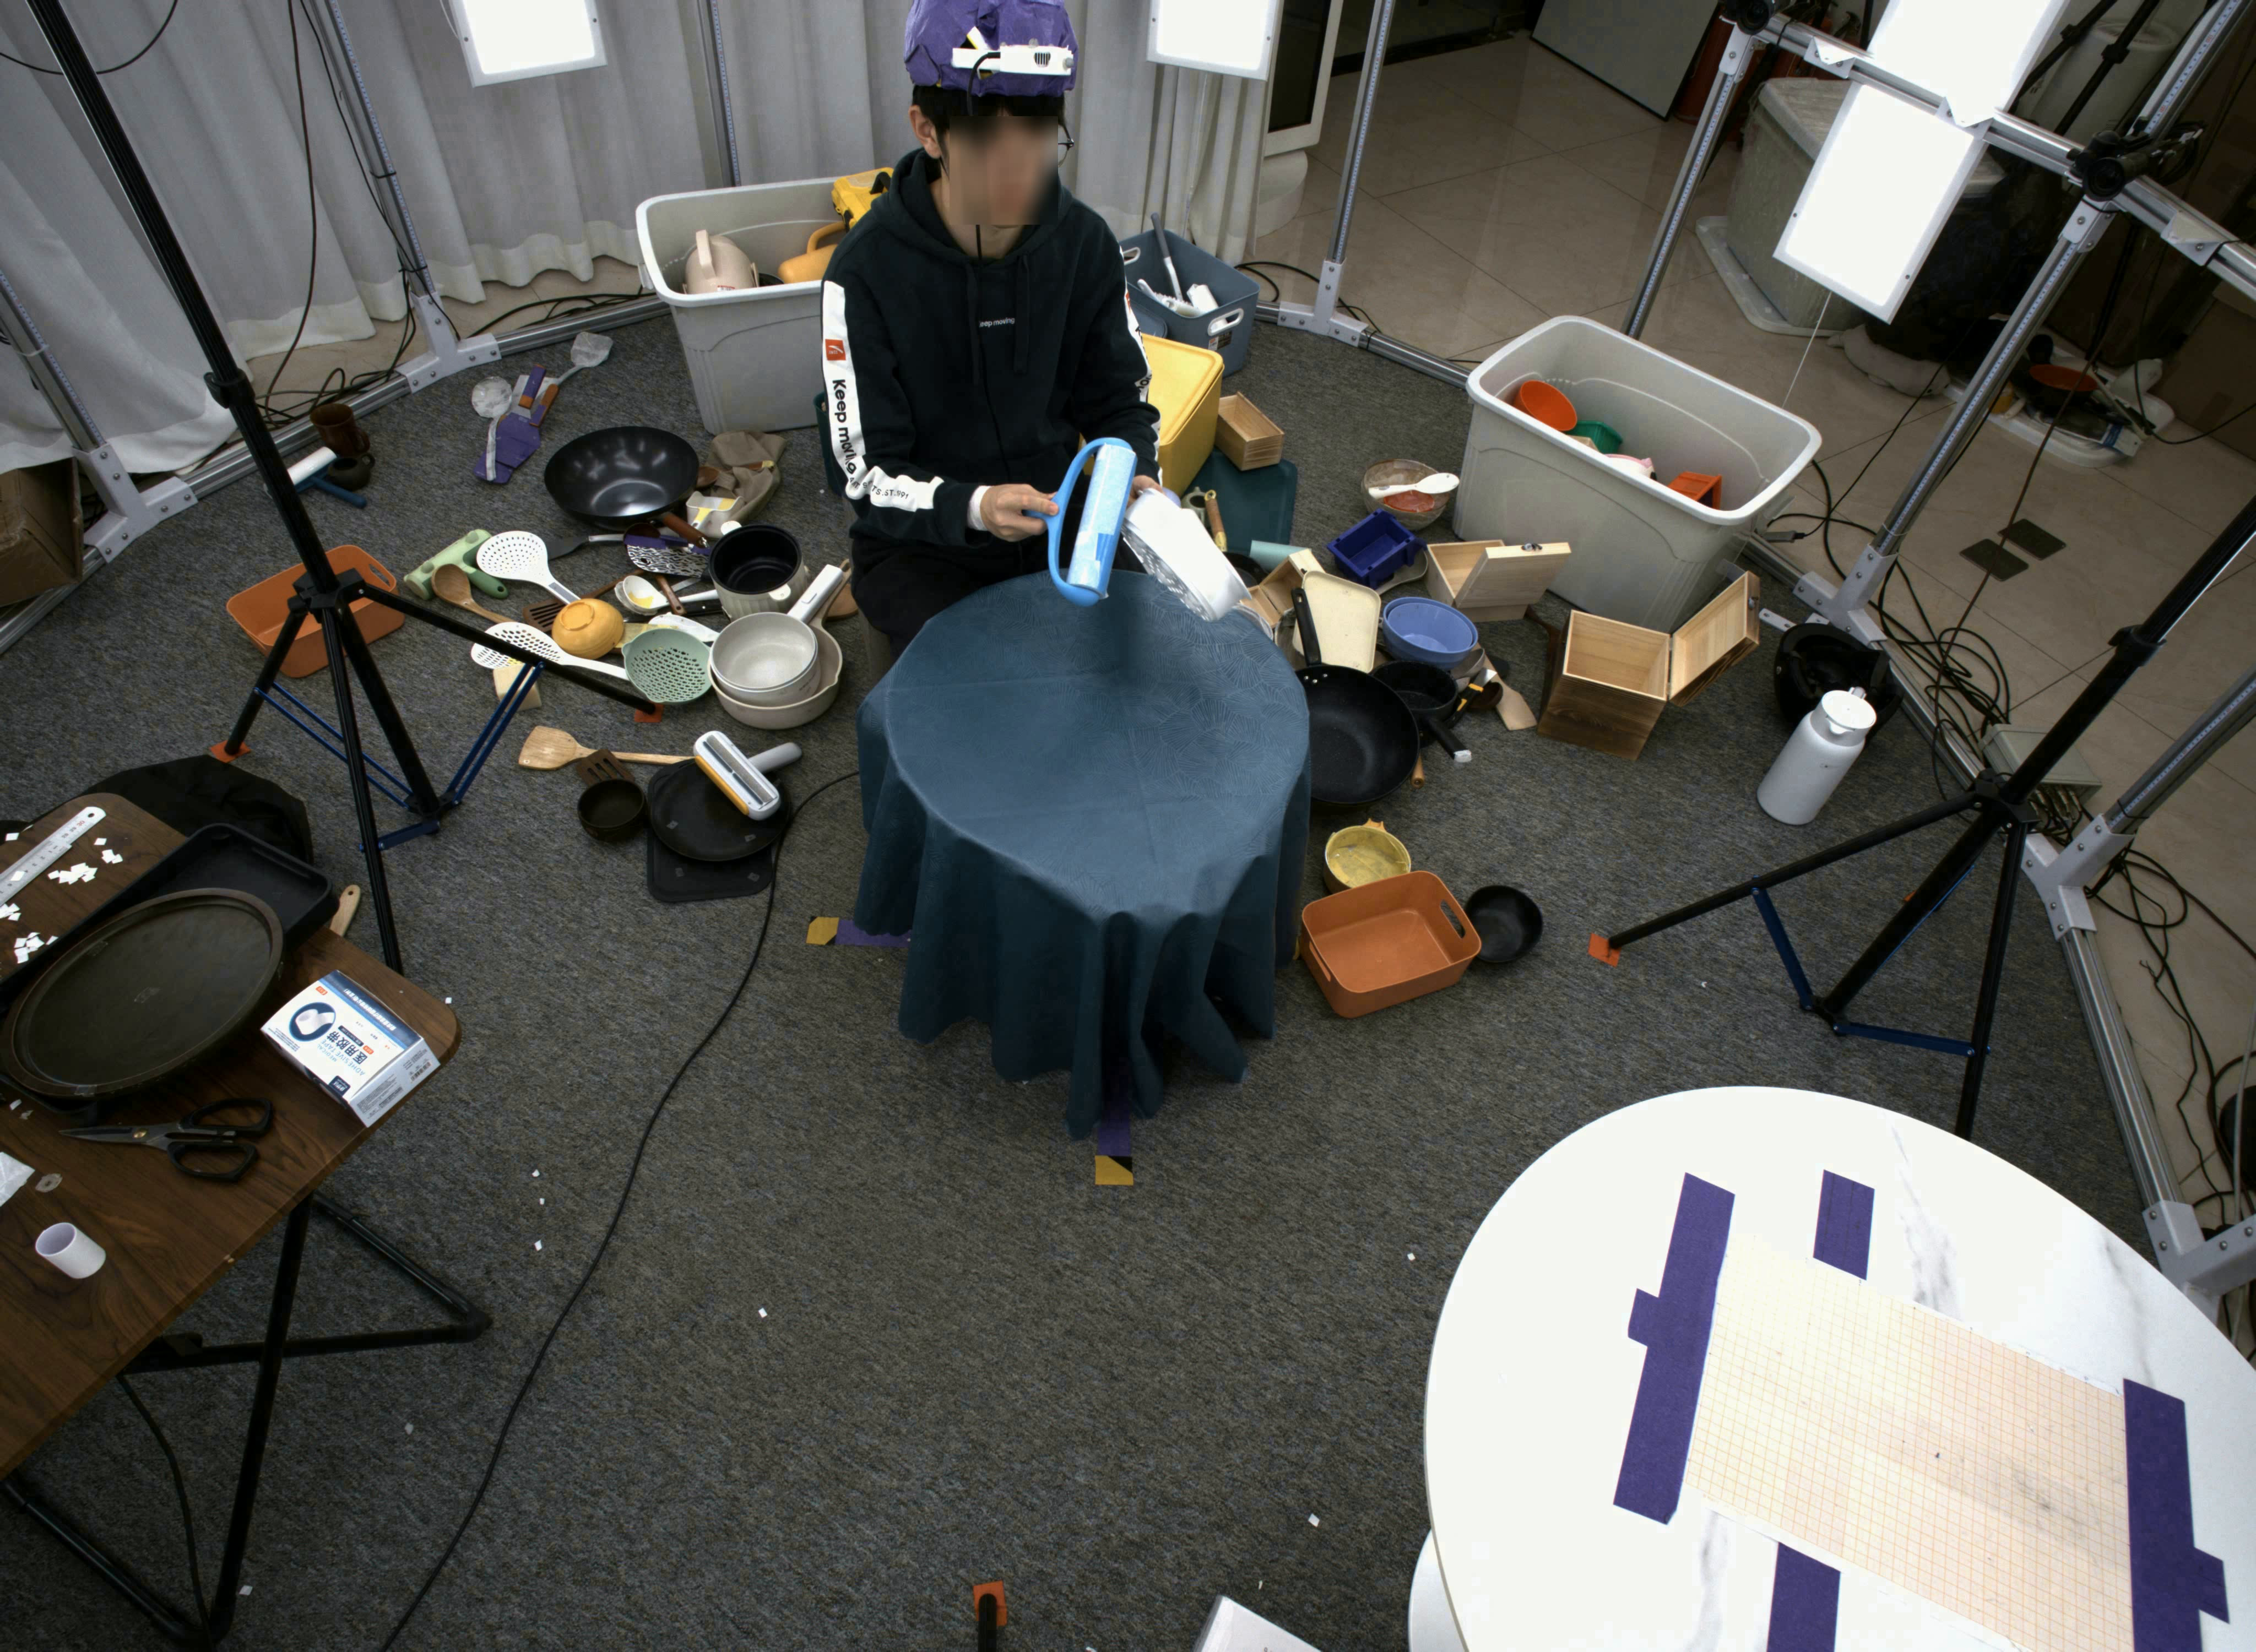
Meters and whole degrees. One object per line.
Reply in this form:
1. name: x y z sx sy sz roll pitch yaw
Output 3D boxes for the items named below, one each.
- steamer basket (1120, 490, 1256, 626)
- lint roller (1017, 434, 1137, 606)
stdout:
1. steamer basket: 0.074 -0.359 1.745 0.069 0.198 0.234 -45 62 1
2. lint roller: -0.084 -0.402 1.701 0.181 0.067 0.230 4 81 28
